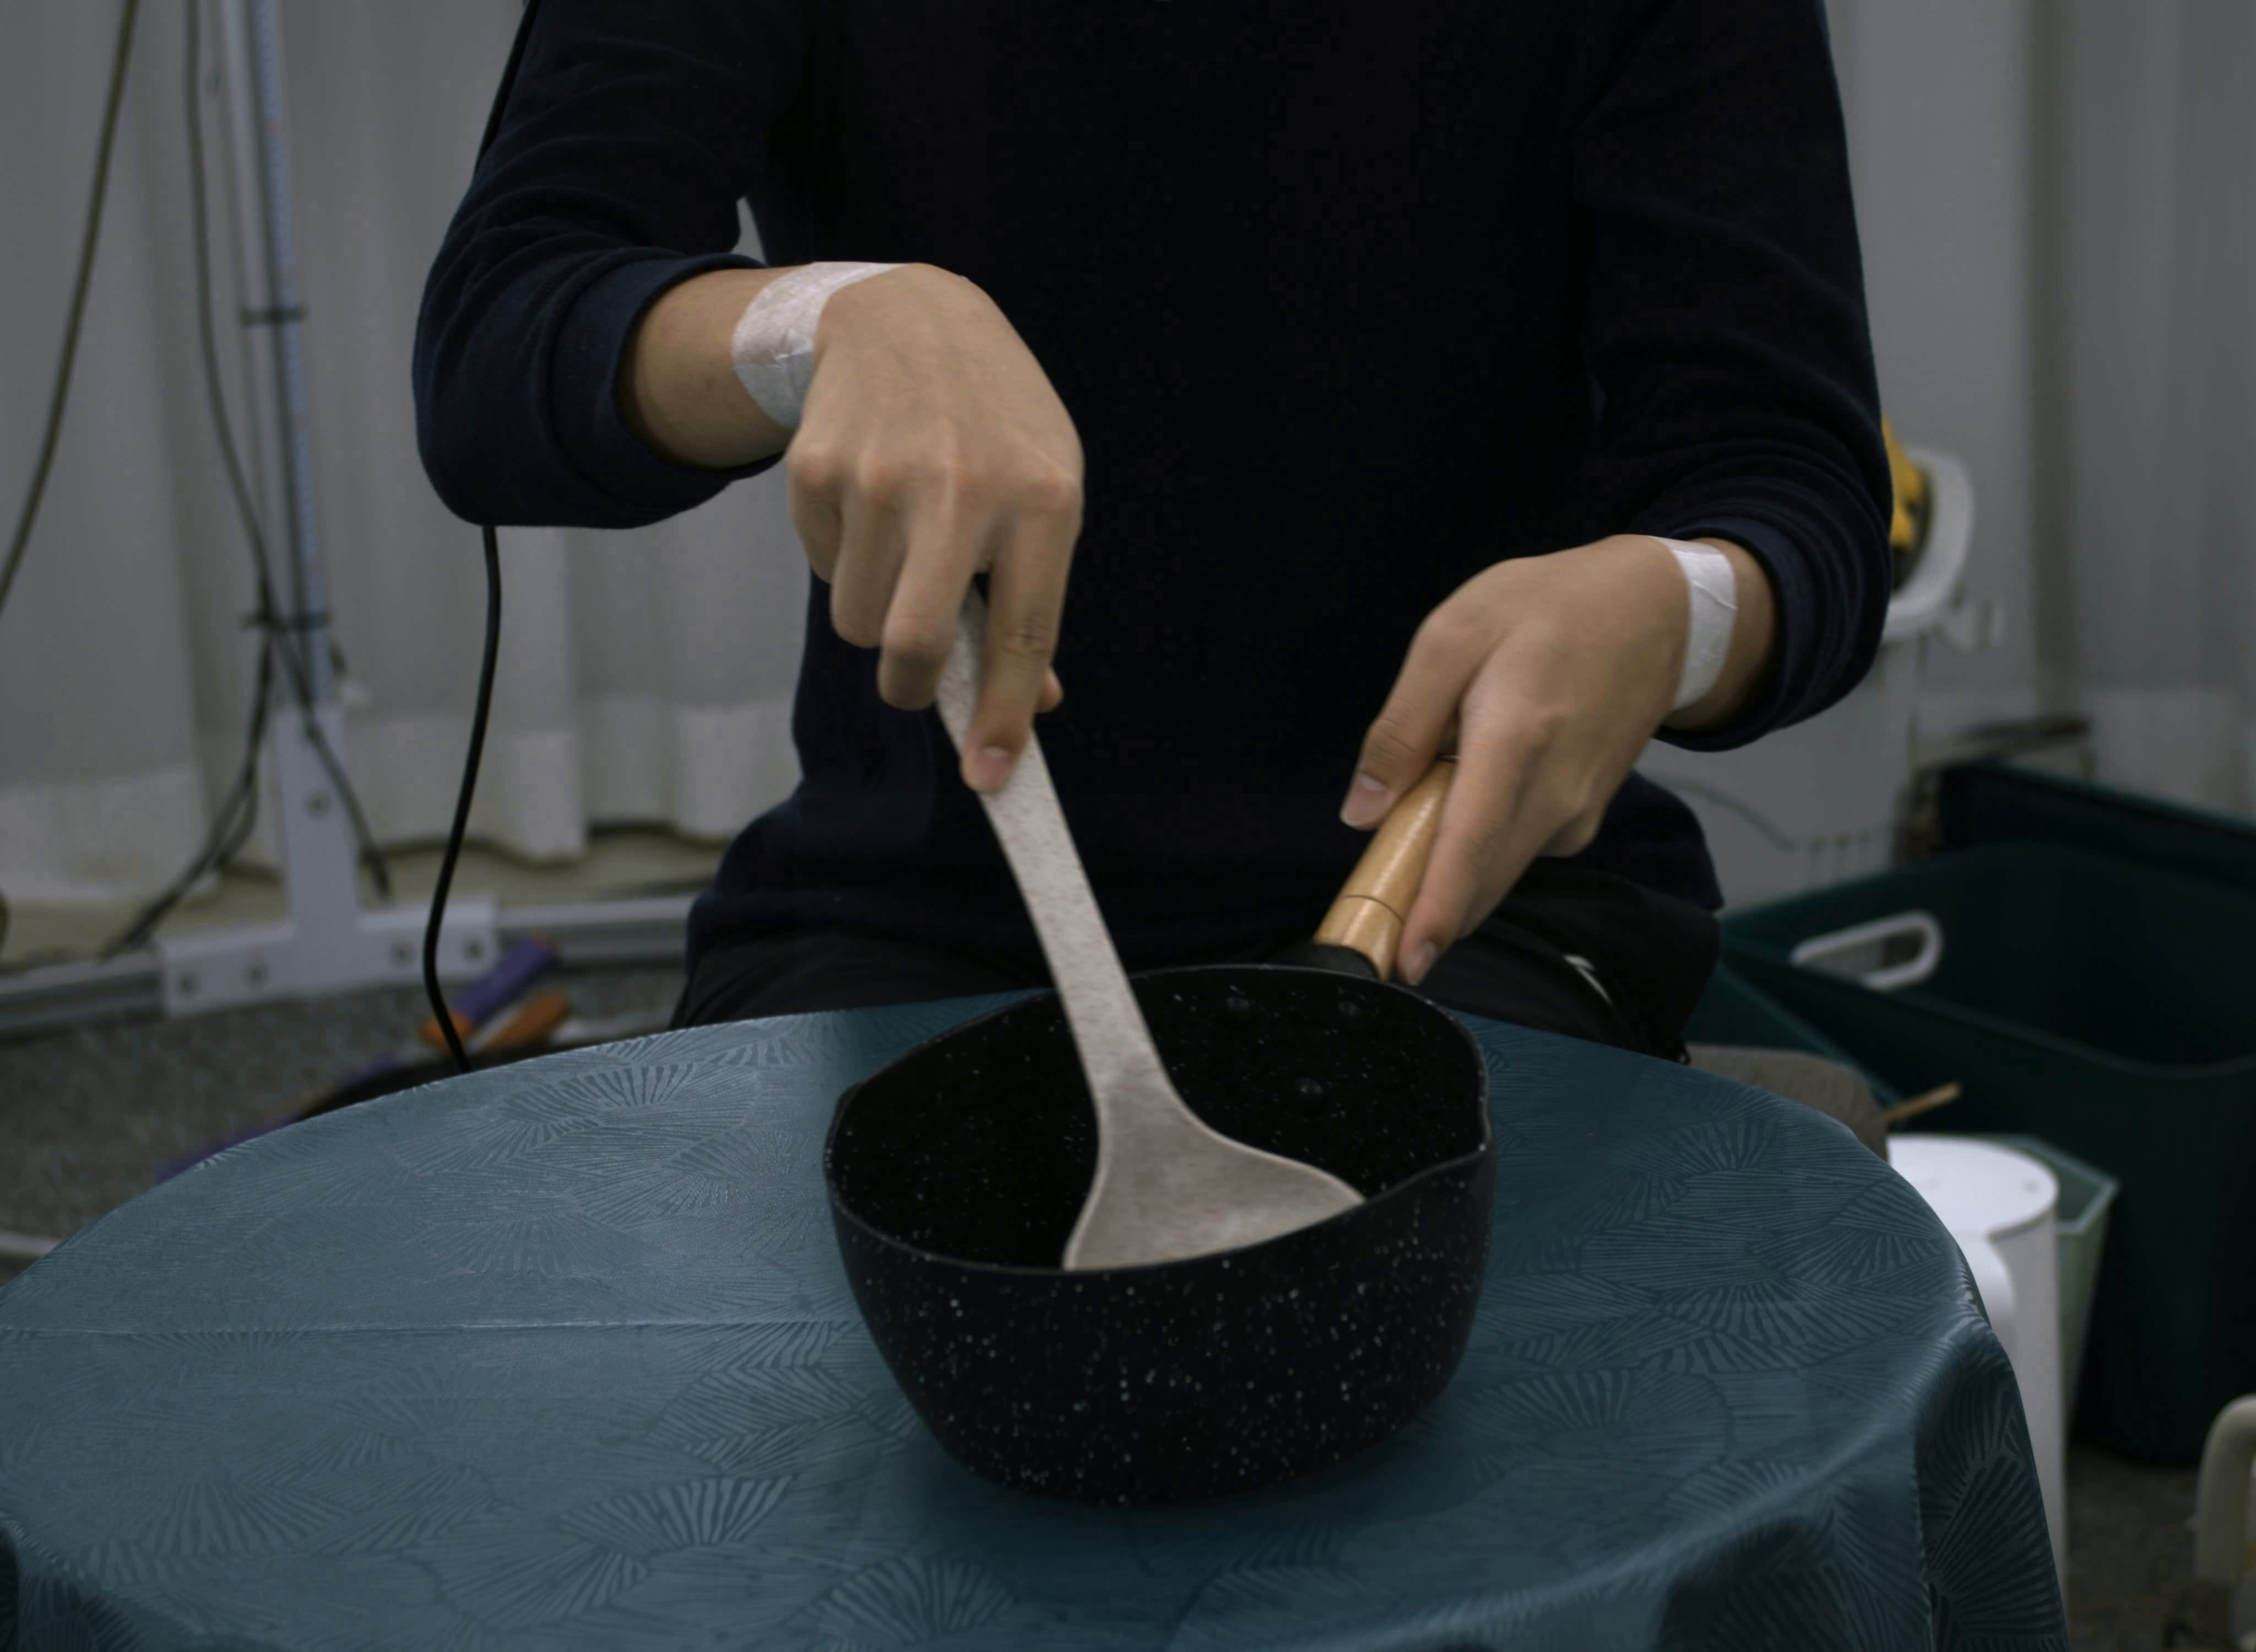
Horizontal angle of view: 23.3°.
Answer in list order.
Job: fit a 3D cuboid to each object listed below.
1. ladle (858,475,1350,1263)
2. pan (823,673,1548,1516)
[{"bbox_3d":[-0.017,0.018,1.543,0.089,0.277,0.069,-18,-10,-16],"label":"ladle"},{"bbox_3d":[0.047,0.072,1.568,0.208,0.107,0.345,2,26,28],"label":"pan"}]
